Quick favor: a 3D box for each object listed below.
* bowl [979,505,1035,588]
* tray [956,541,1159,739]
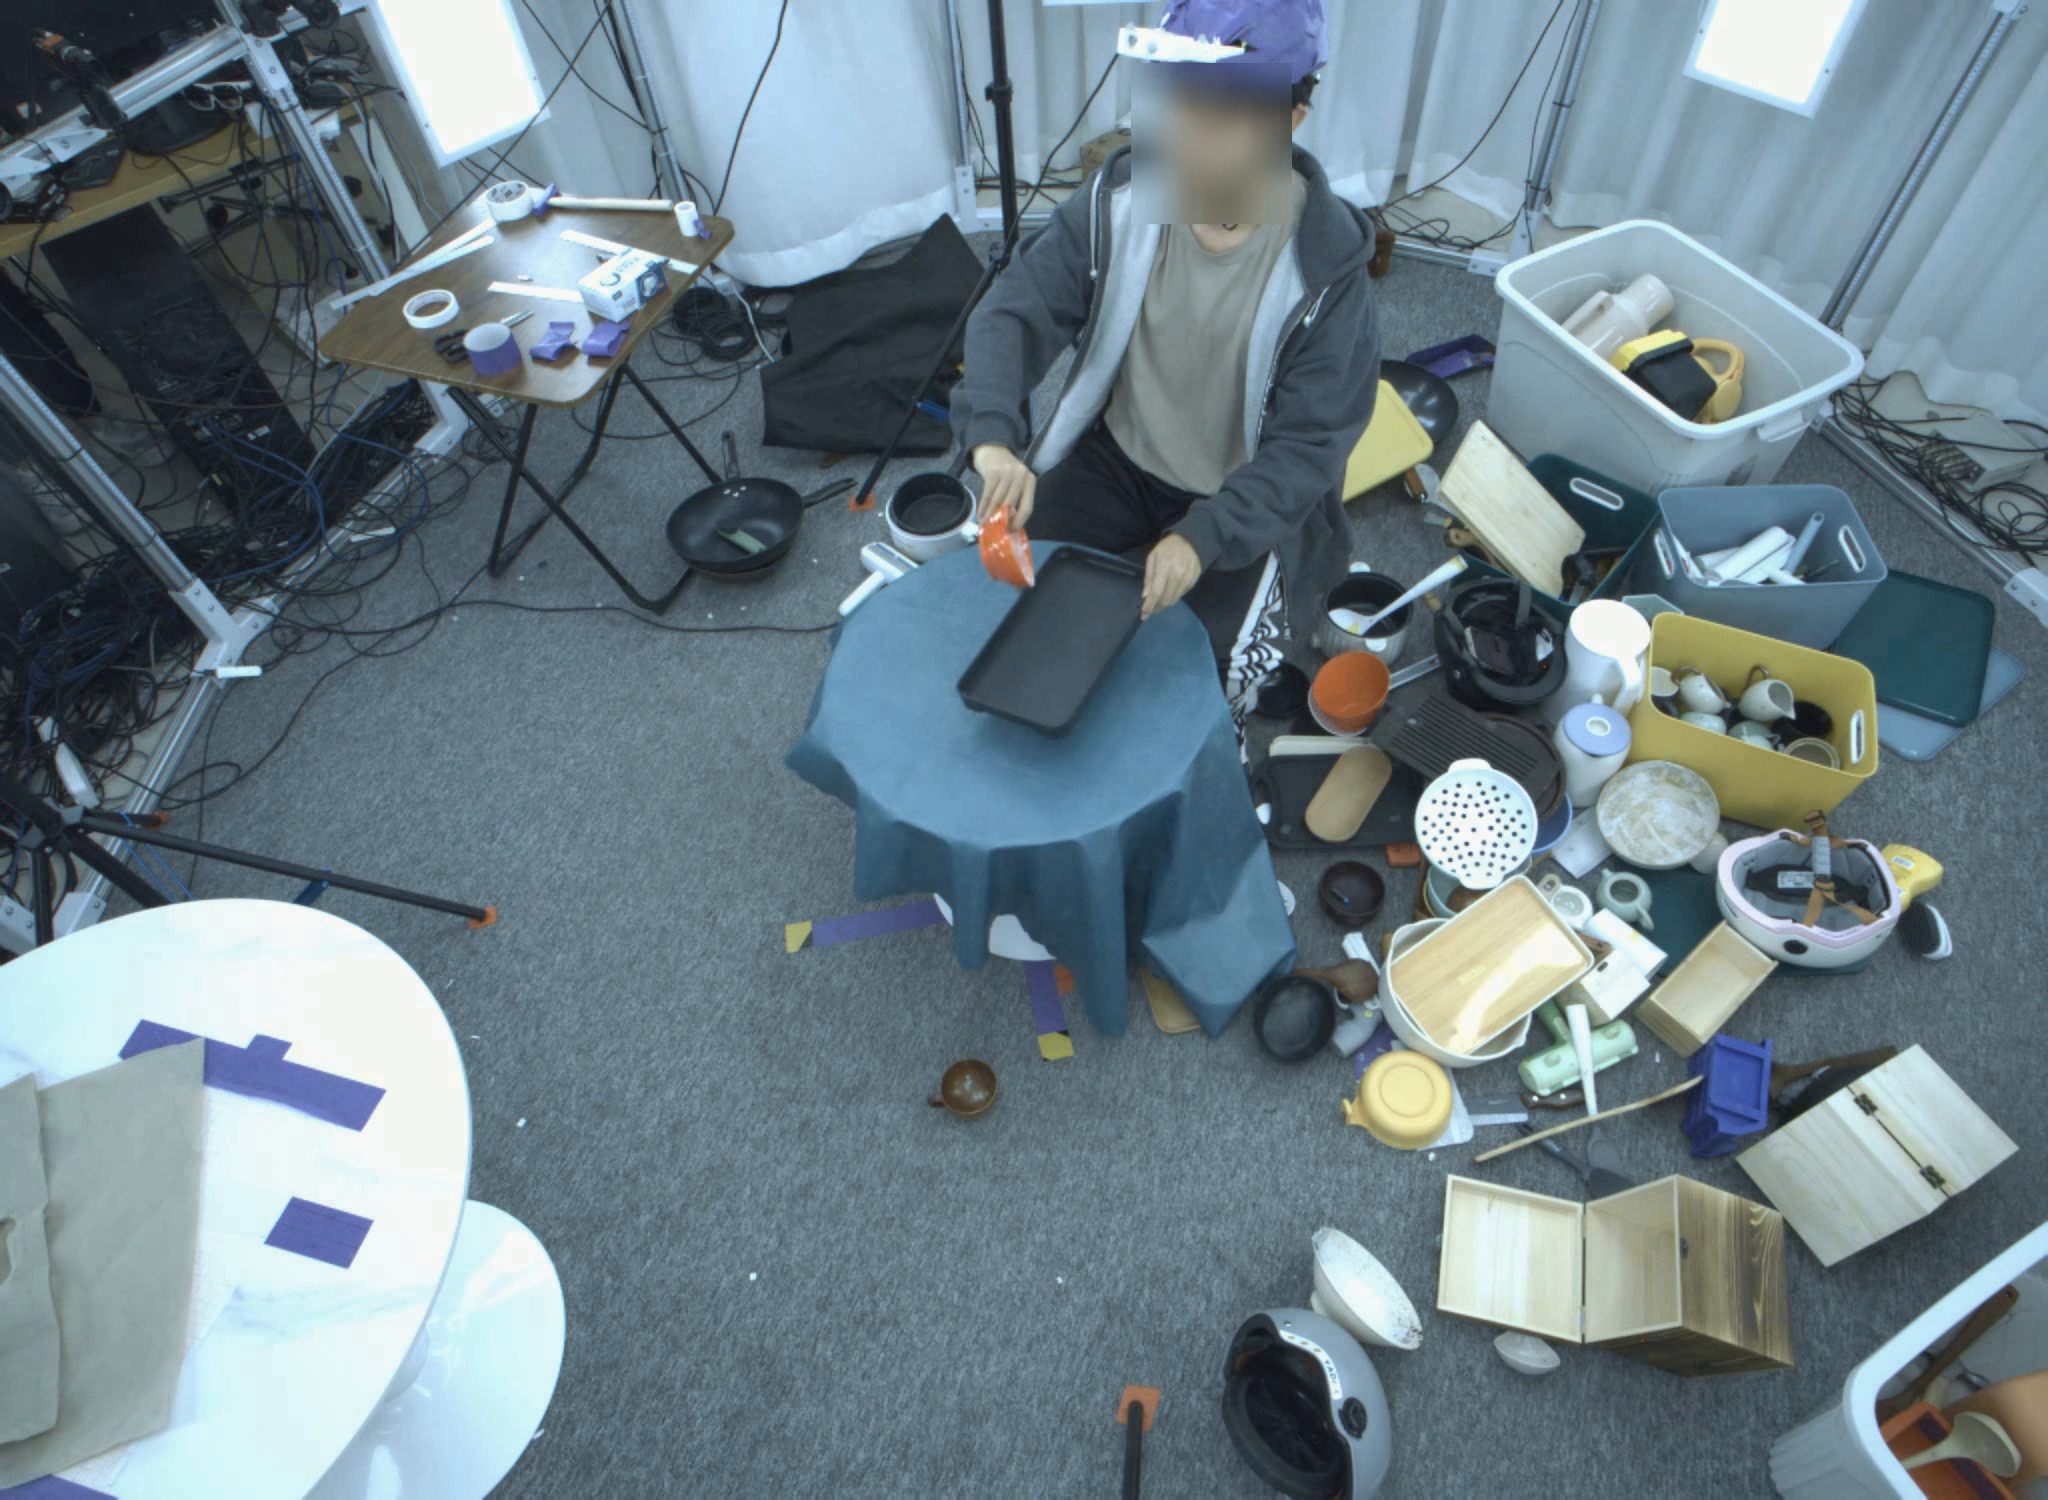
[{"bbox_3d":[-0.028,-0.278,1.704,0.051,0.121,0.117,-13,54,15],"label":"bowl"},{"bbox_3d":[0.053,-0.166,1.789,0.181,0.037,0.318,21,63,22],"label":"tray"}]
